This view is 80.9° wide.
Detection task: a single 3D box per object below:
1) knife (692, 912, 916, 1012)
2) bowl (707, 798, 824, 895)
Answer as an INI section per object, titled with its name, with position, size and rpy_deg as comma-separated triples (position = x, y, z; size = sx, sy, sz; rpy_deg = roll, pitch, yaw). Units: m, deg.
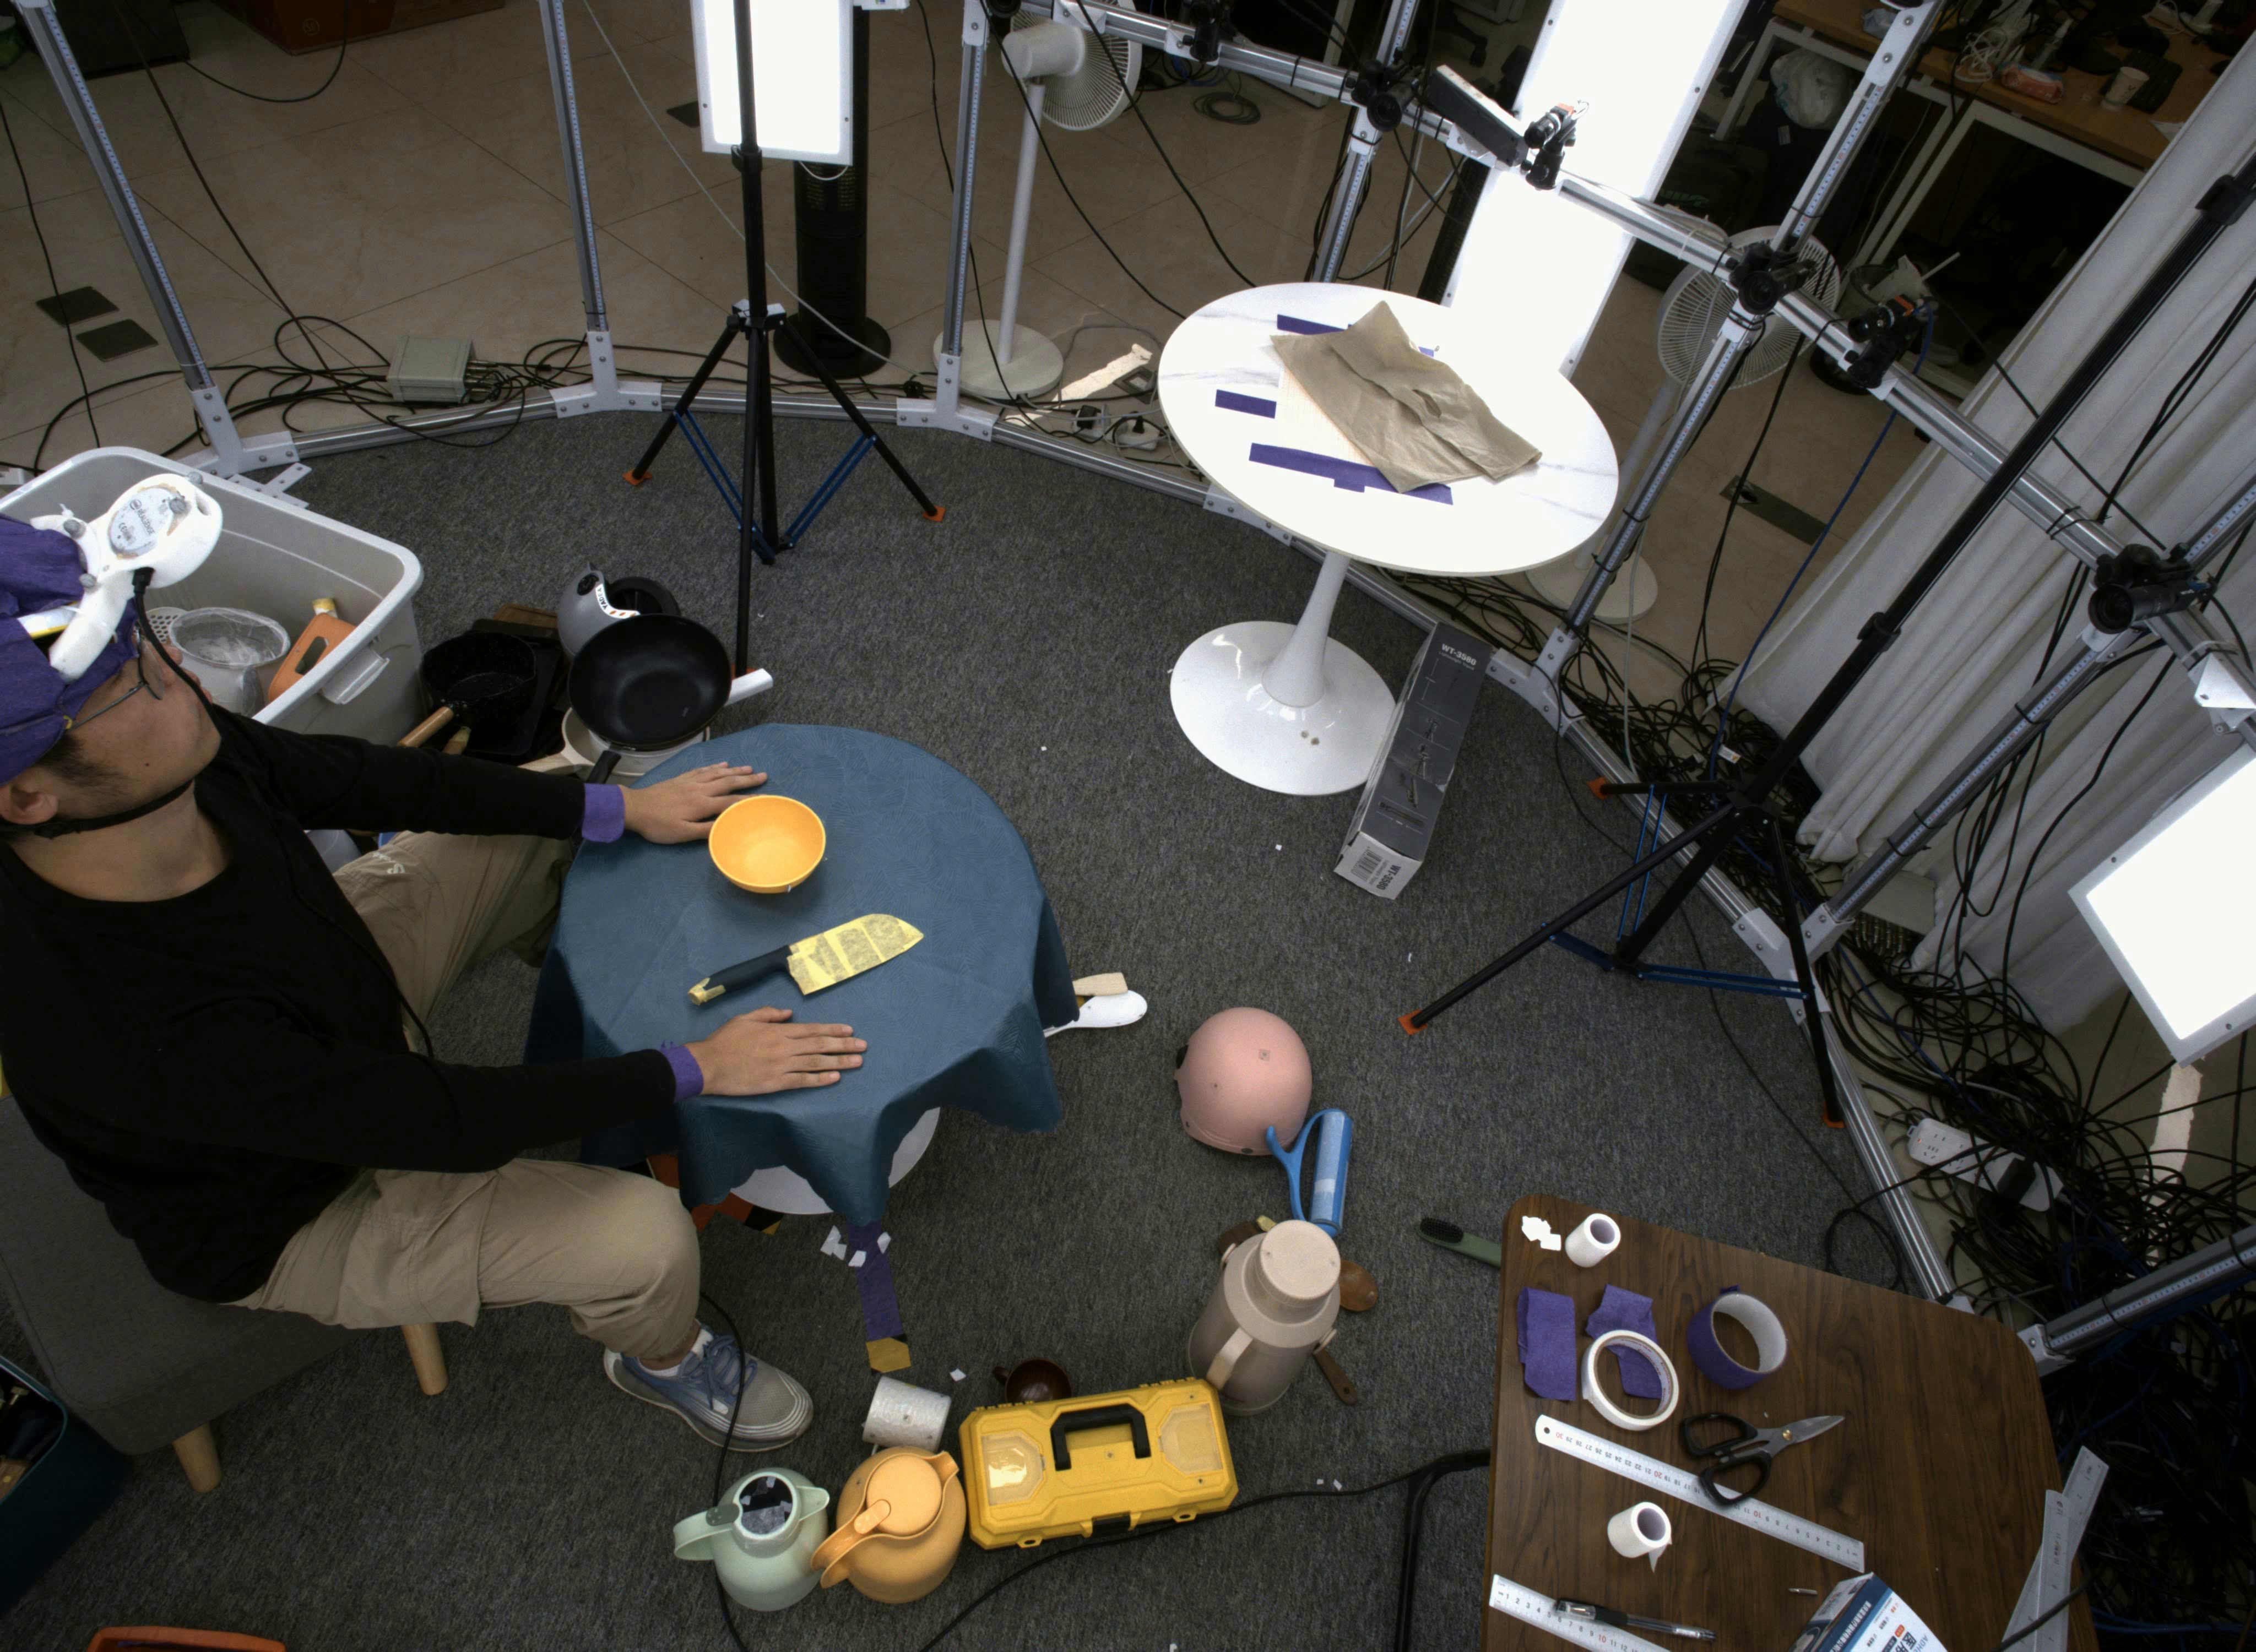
[knife]
position = -0.392, 0.169, 1.594
size = 0.291, 0.028, 0.079
rpy_deg = -21, 60, -28
[bowl]
position = -0.459, 0.036, 1.647
size = 0.145, 0.061, 0.142
rpy_deg = 8, 50, -7
